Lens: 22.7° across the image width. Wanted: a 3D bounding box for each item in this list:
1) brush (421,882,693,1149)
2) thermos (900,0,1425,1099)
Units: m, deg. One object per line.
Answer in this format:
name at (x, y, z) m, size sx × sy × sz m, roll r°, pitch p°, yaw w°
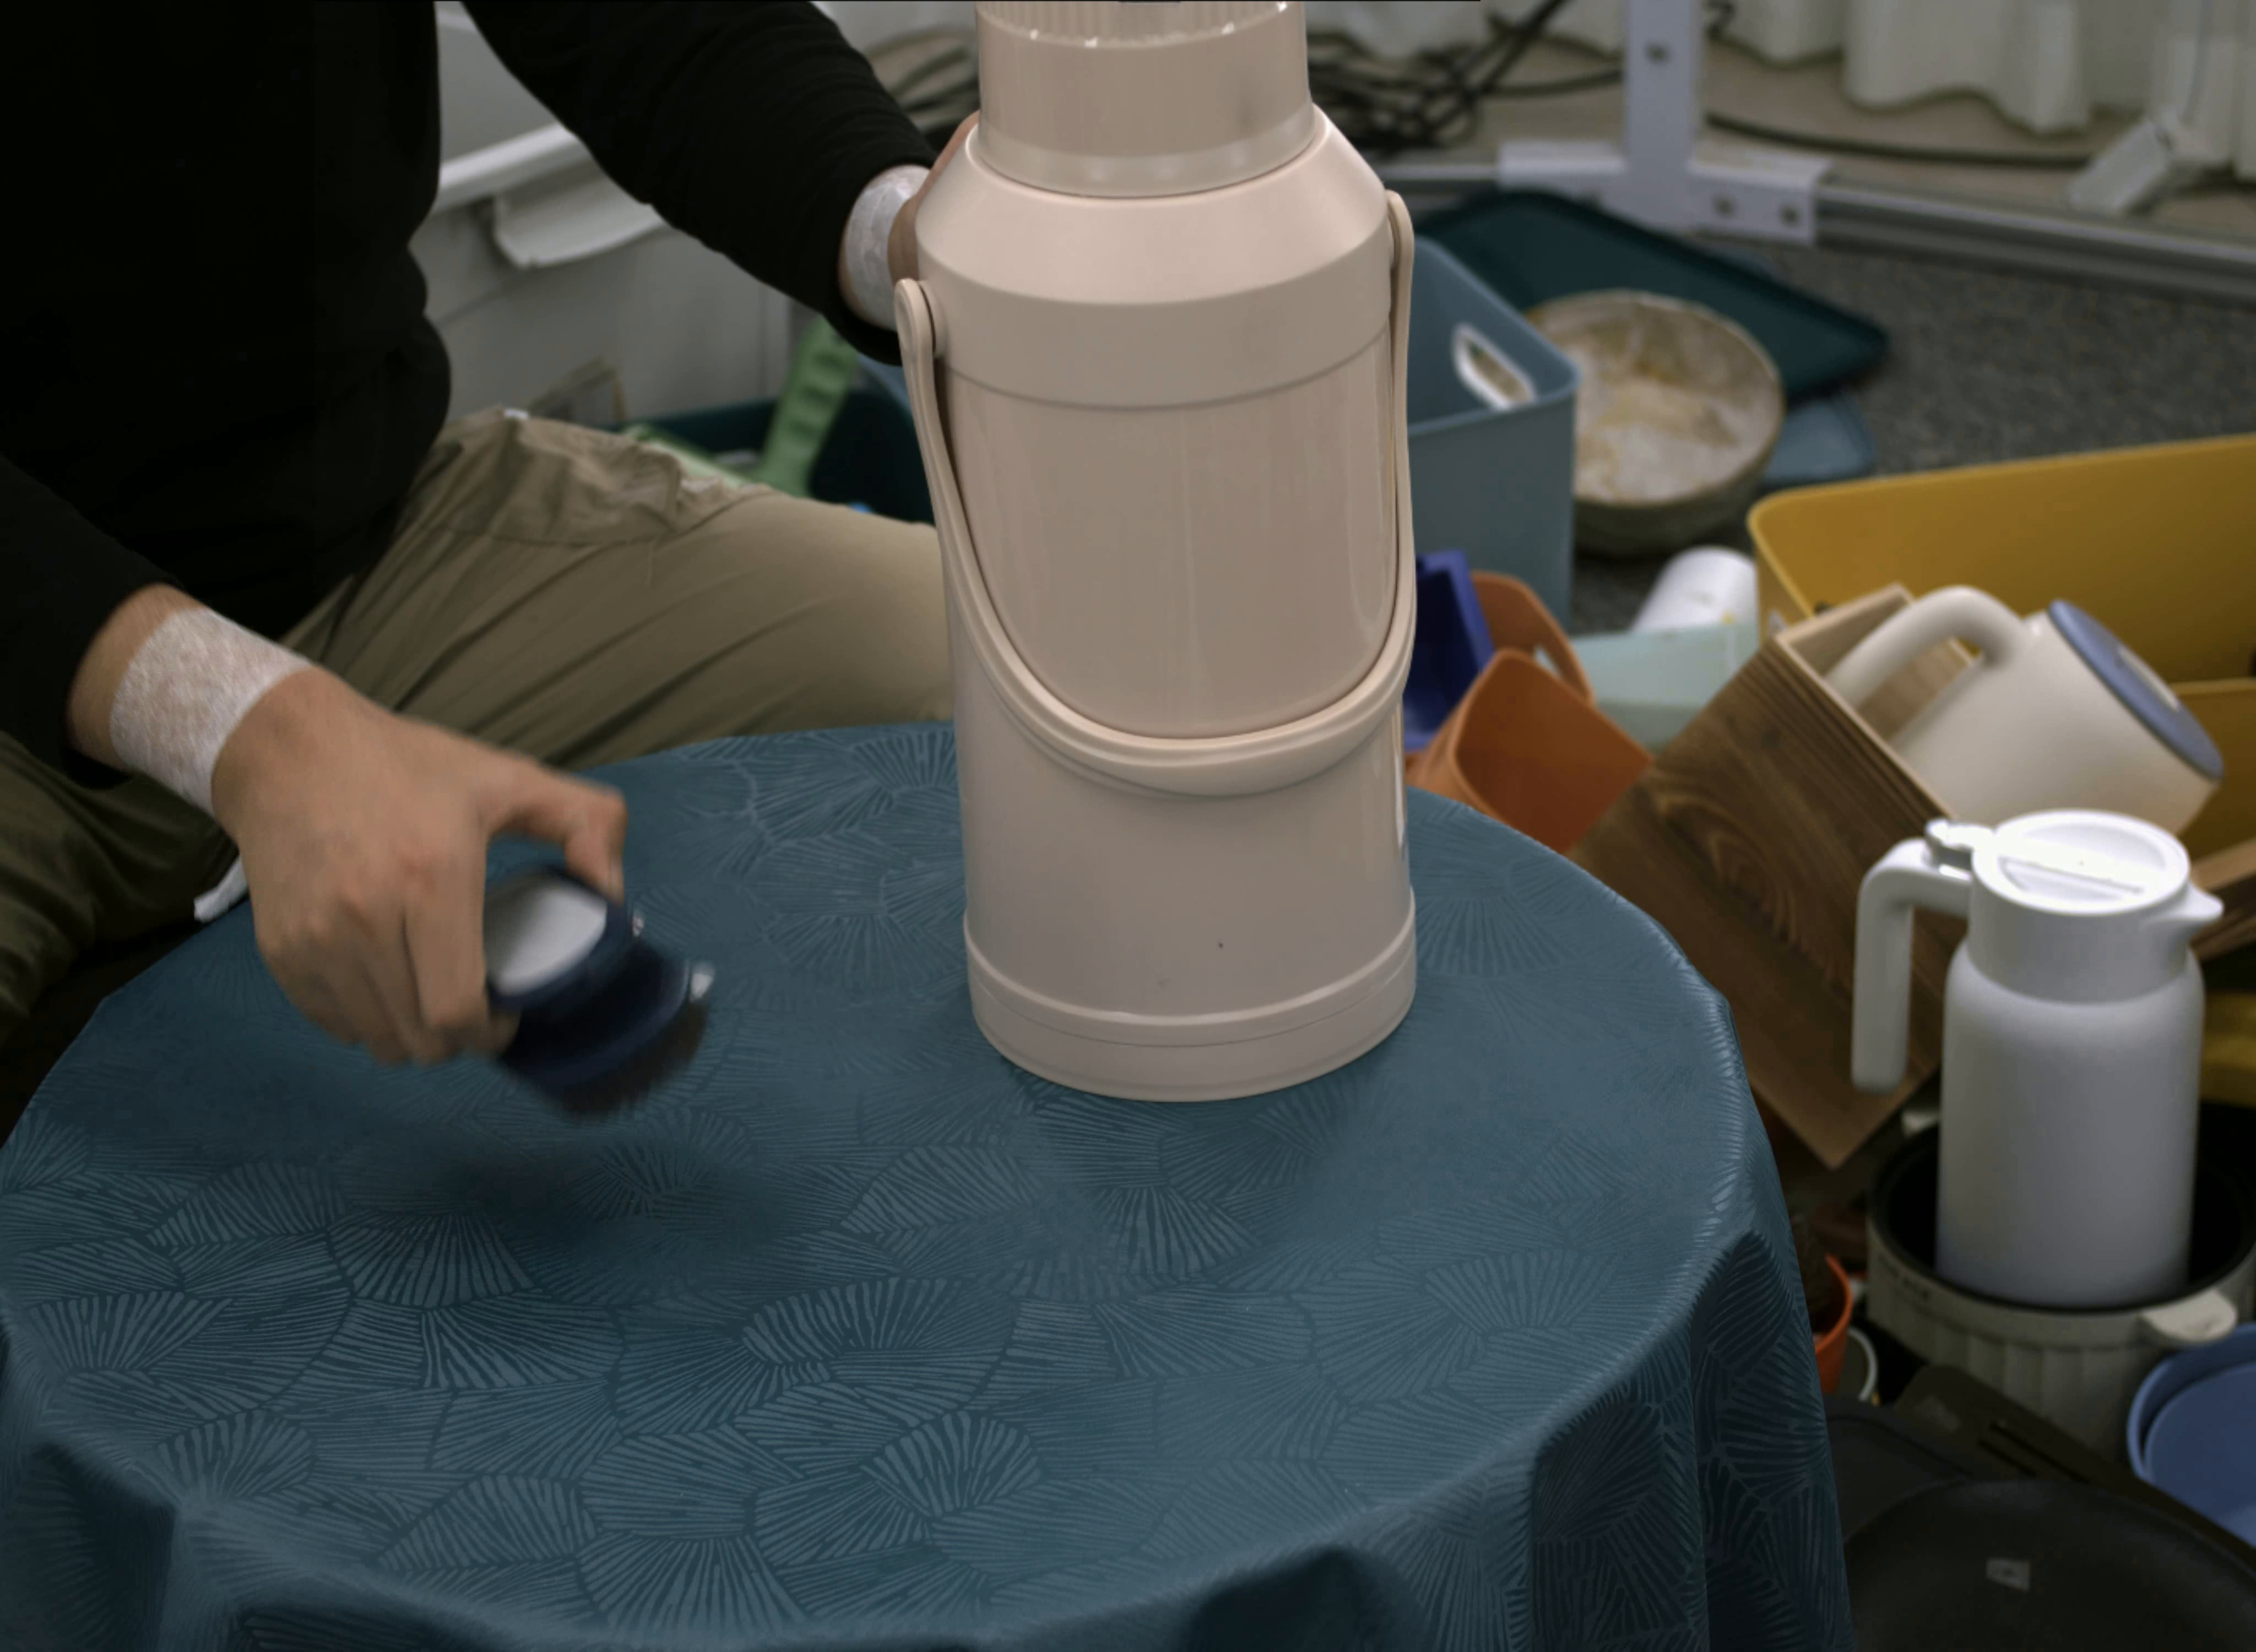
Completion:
brush at (-0.186, 0.064, 1.842) m, size 0.068 × 0.061 × 0.122 m, roll -33°, pitch 24°, yaw -13°
thermos at (0.011, -0.124, 1.909) m, size 0.176 × 0.402 × 0.209 m, roll -13°, pitch 28°, yaw -16°
